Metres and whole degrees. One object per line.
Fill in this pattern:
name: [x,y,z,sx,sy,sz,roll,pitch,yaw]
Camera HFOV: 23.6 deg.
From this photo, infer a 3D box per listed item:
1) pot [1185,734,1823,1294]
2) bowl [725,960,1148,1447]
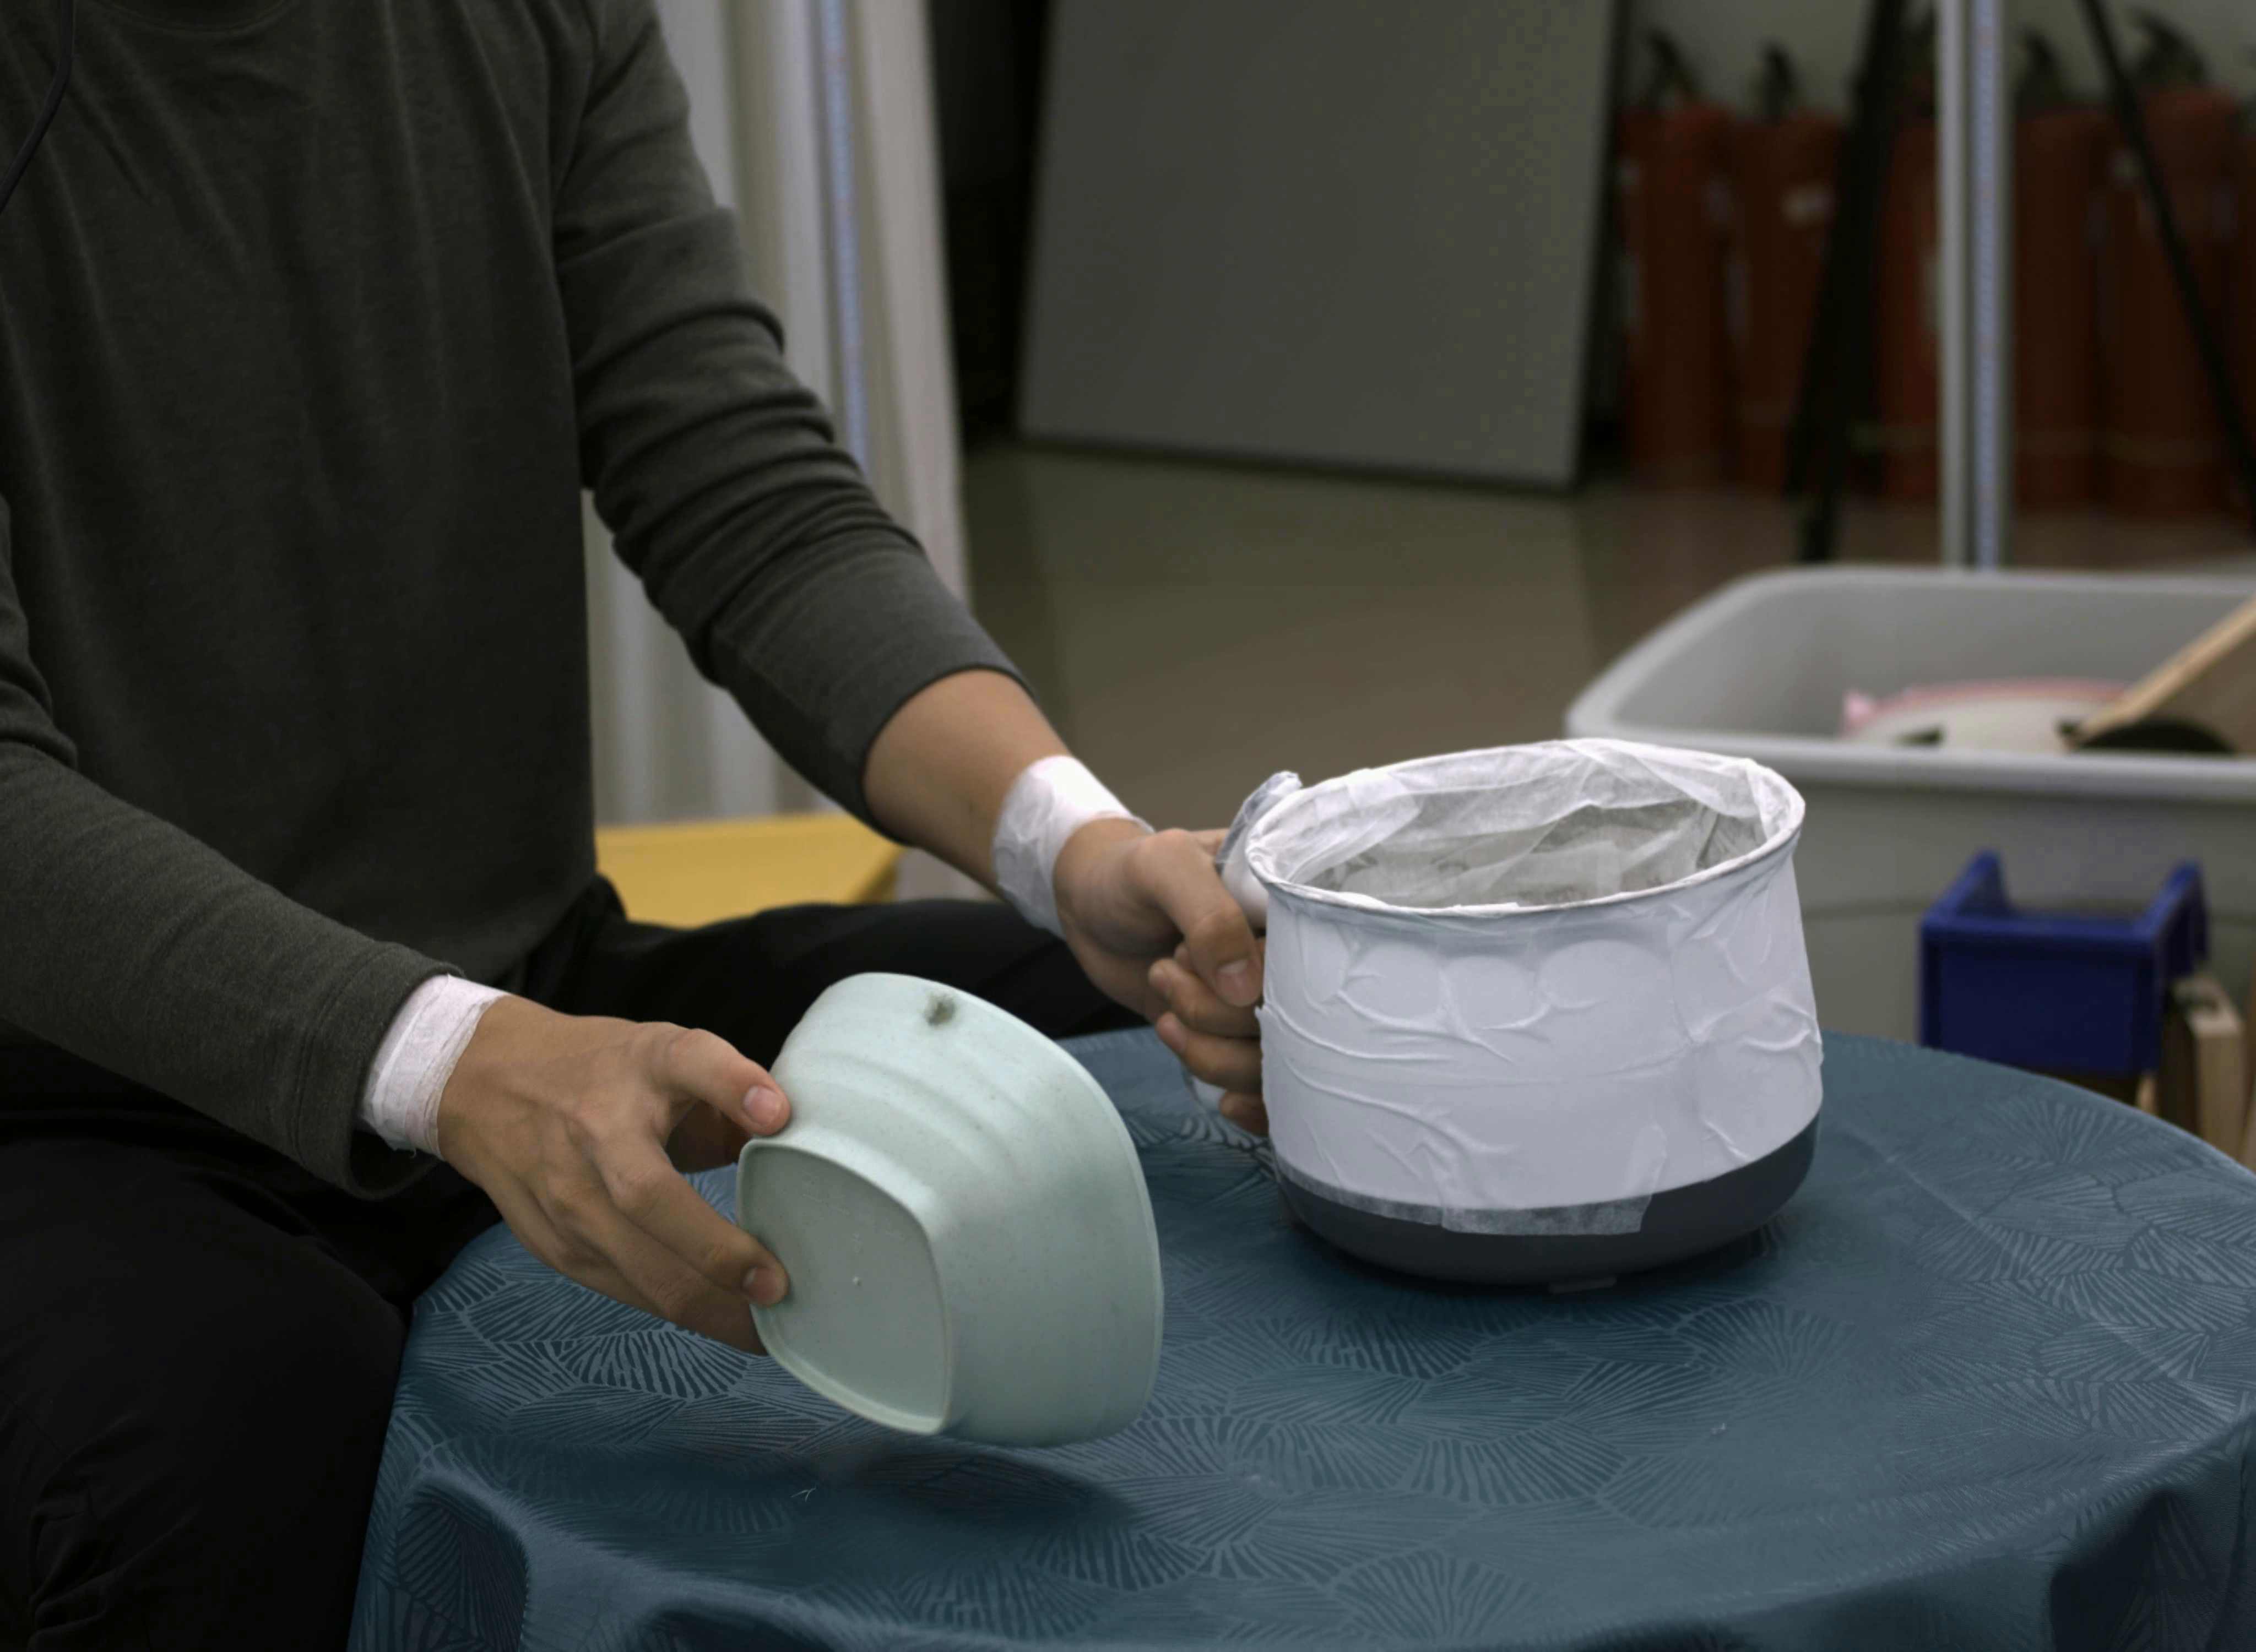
pot: [0.109,0.055,1.713,0.235,0.138,0.175,8,21,41]
bowl: [-0.062,0.114,1.497,0.057,0.152,0.153,-28,25,-37]
